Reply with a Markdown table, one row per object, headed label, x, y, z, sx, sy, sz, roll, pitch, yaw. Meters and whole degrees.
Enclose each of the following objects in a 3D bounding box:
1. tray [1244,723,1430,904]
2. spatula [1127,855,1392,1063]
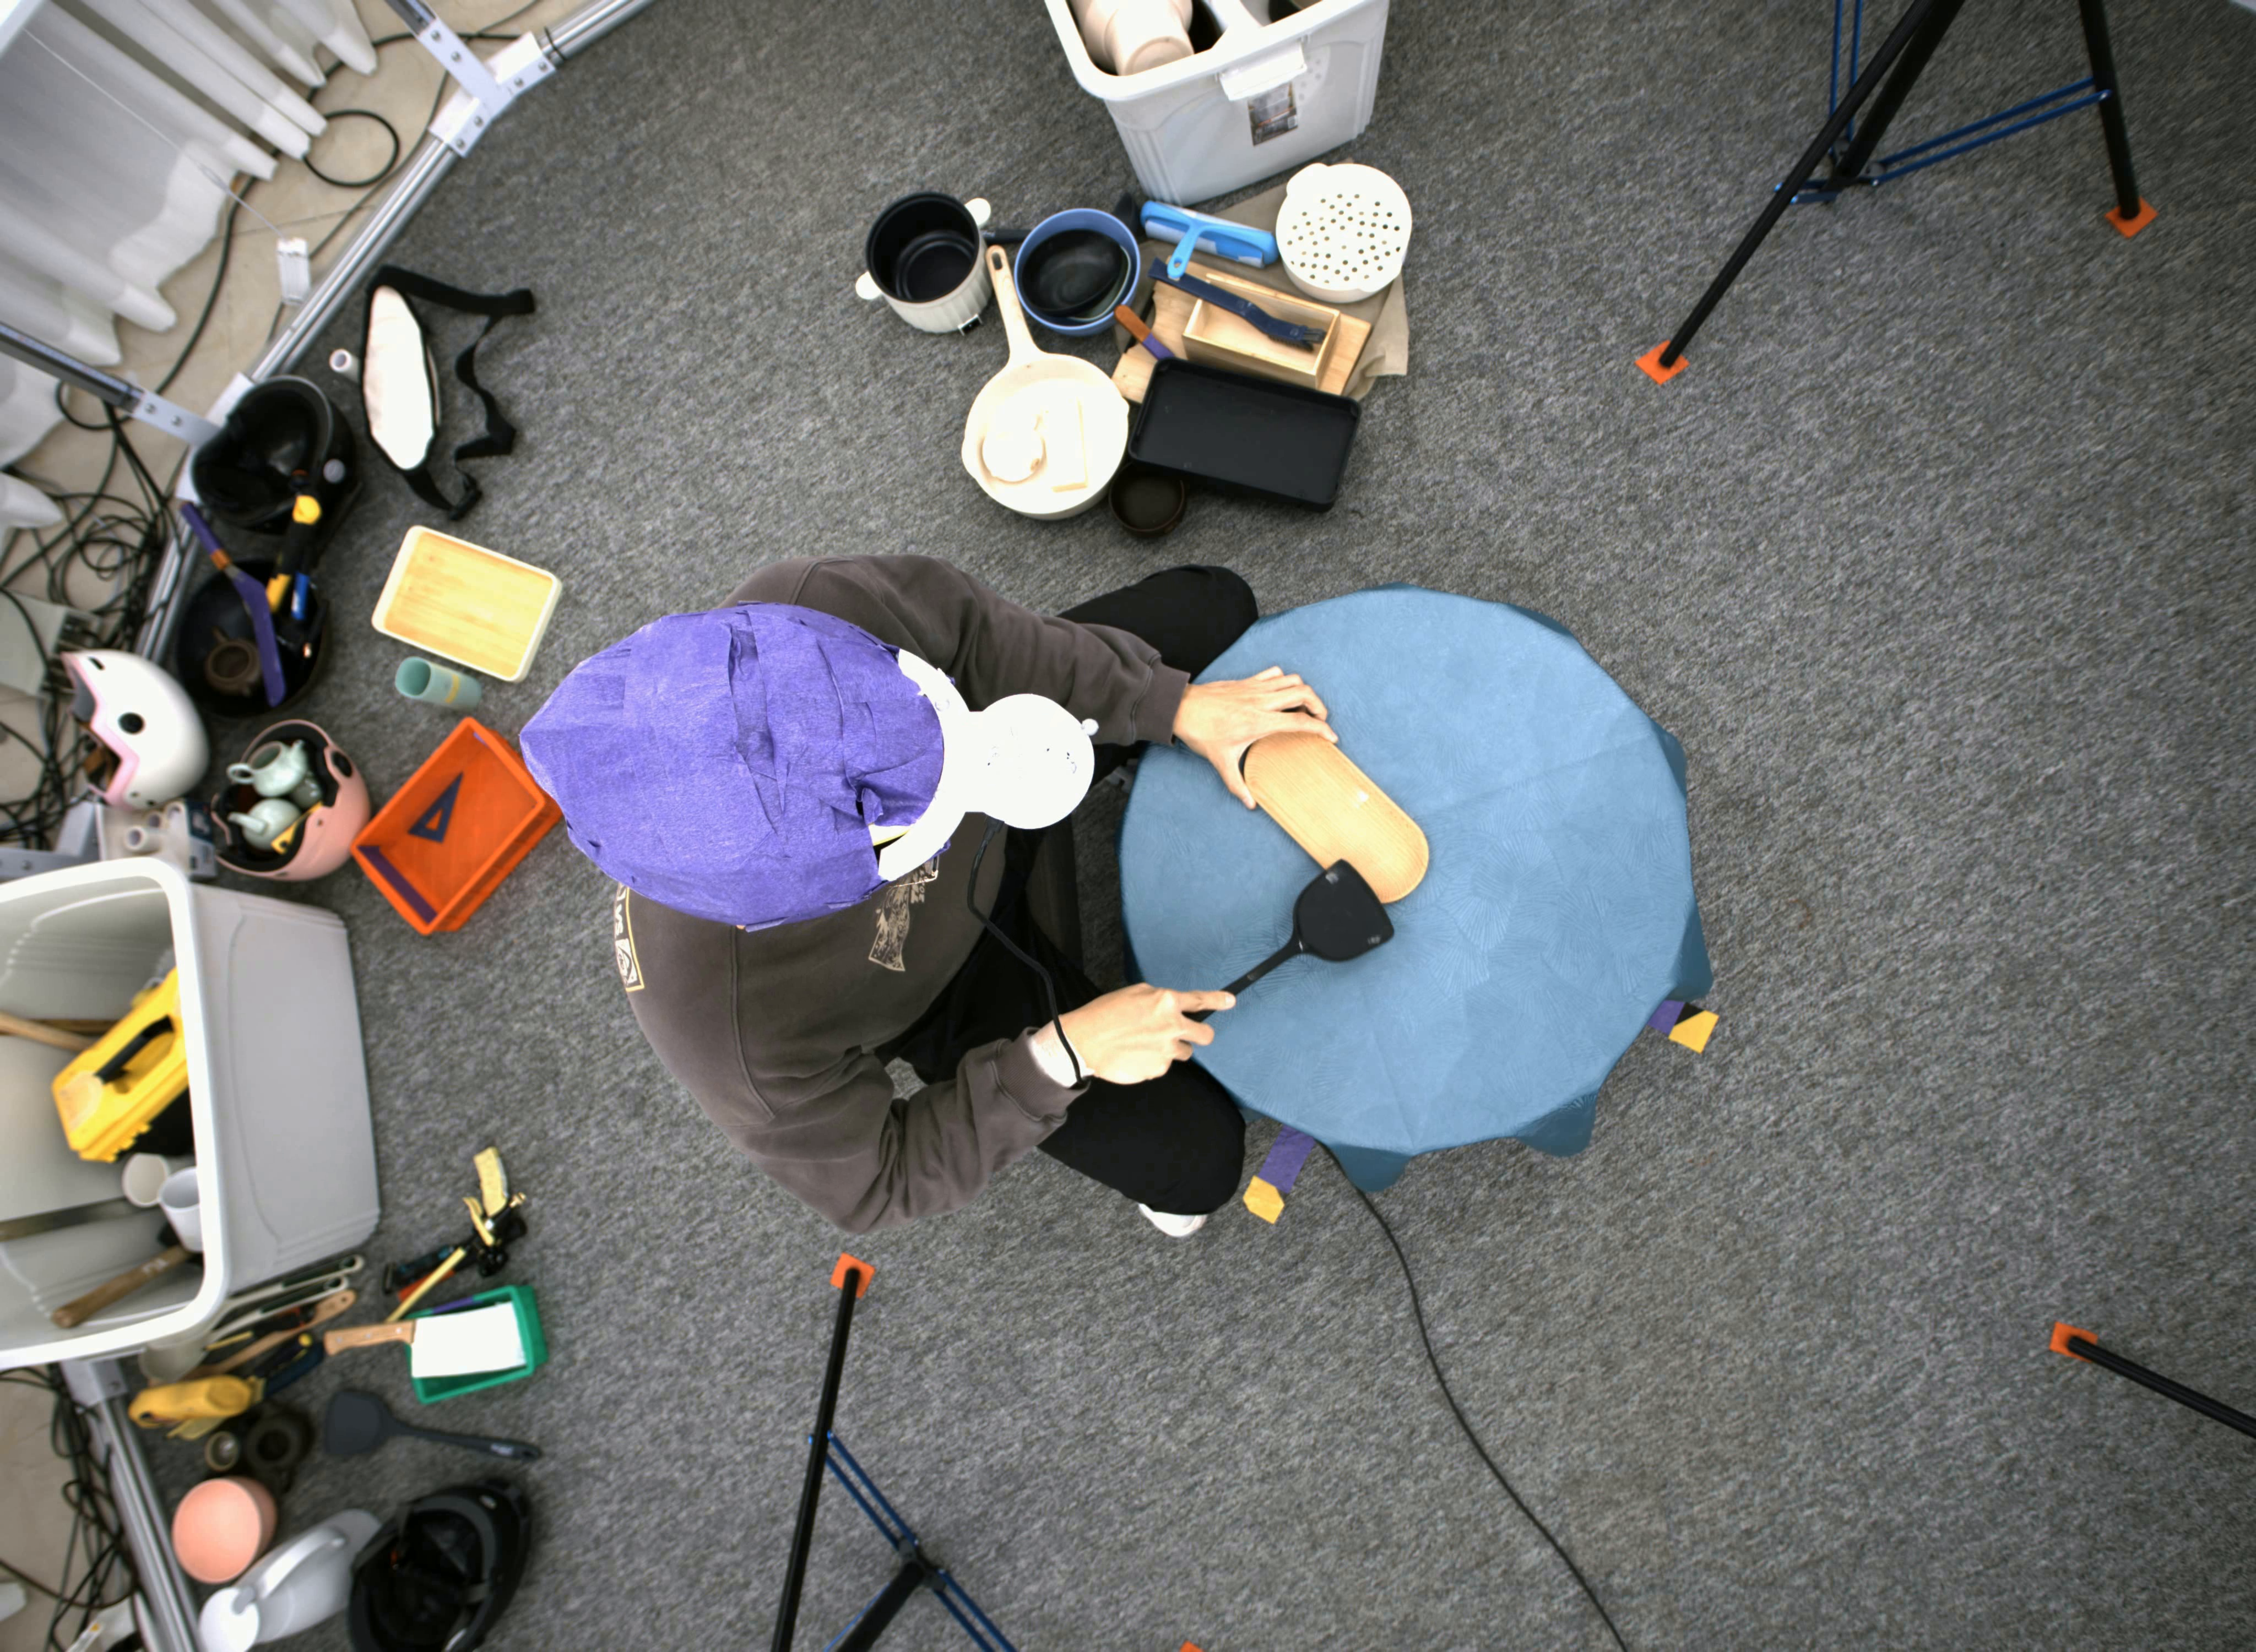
| label | x | y | z | sx | sy | sz | roll | pitch | yaw |
| --- | --- | --- | --- | --- | --- | --- | --- | --- | --- |
| tray | 0.220 | -0.015 | 1.463 | 0.230 | 0.020 | 0.102 | 45 | 97 | 8 |
| spatula | 0.124 | 0.139 | 1.346 | 0.320 | 0.041 | 0.099 | -31 | 83 | -31 |
